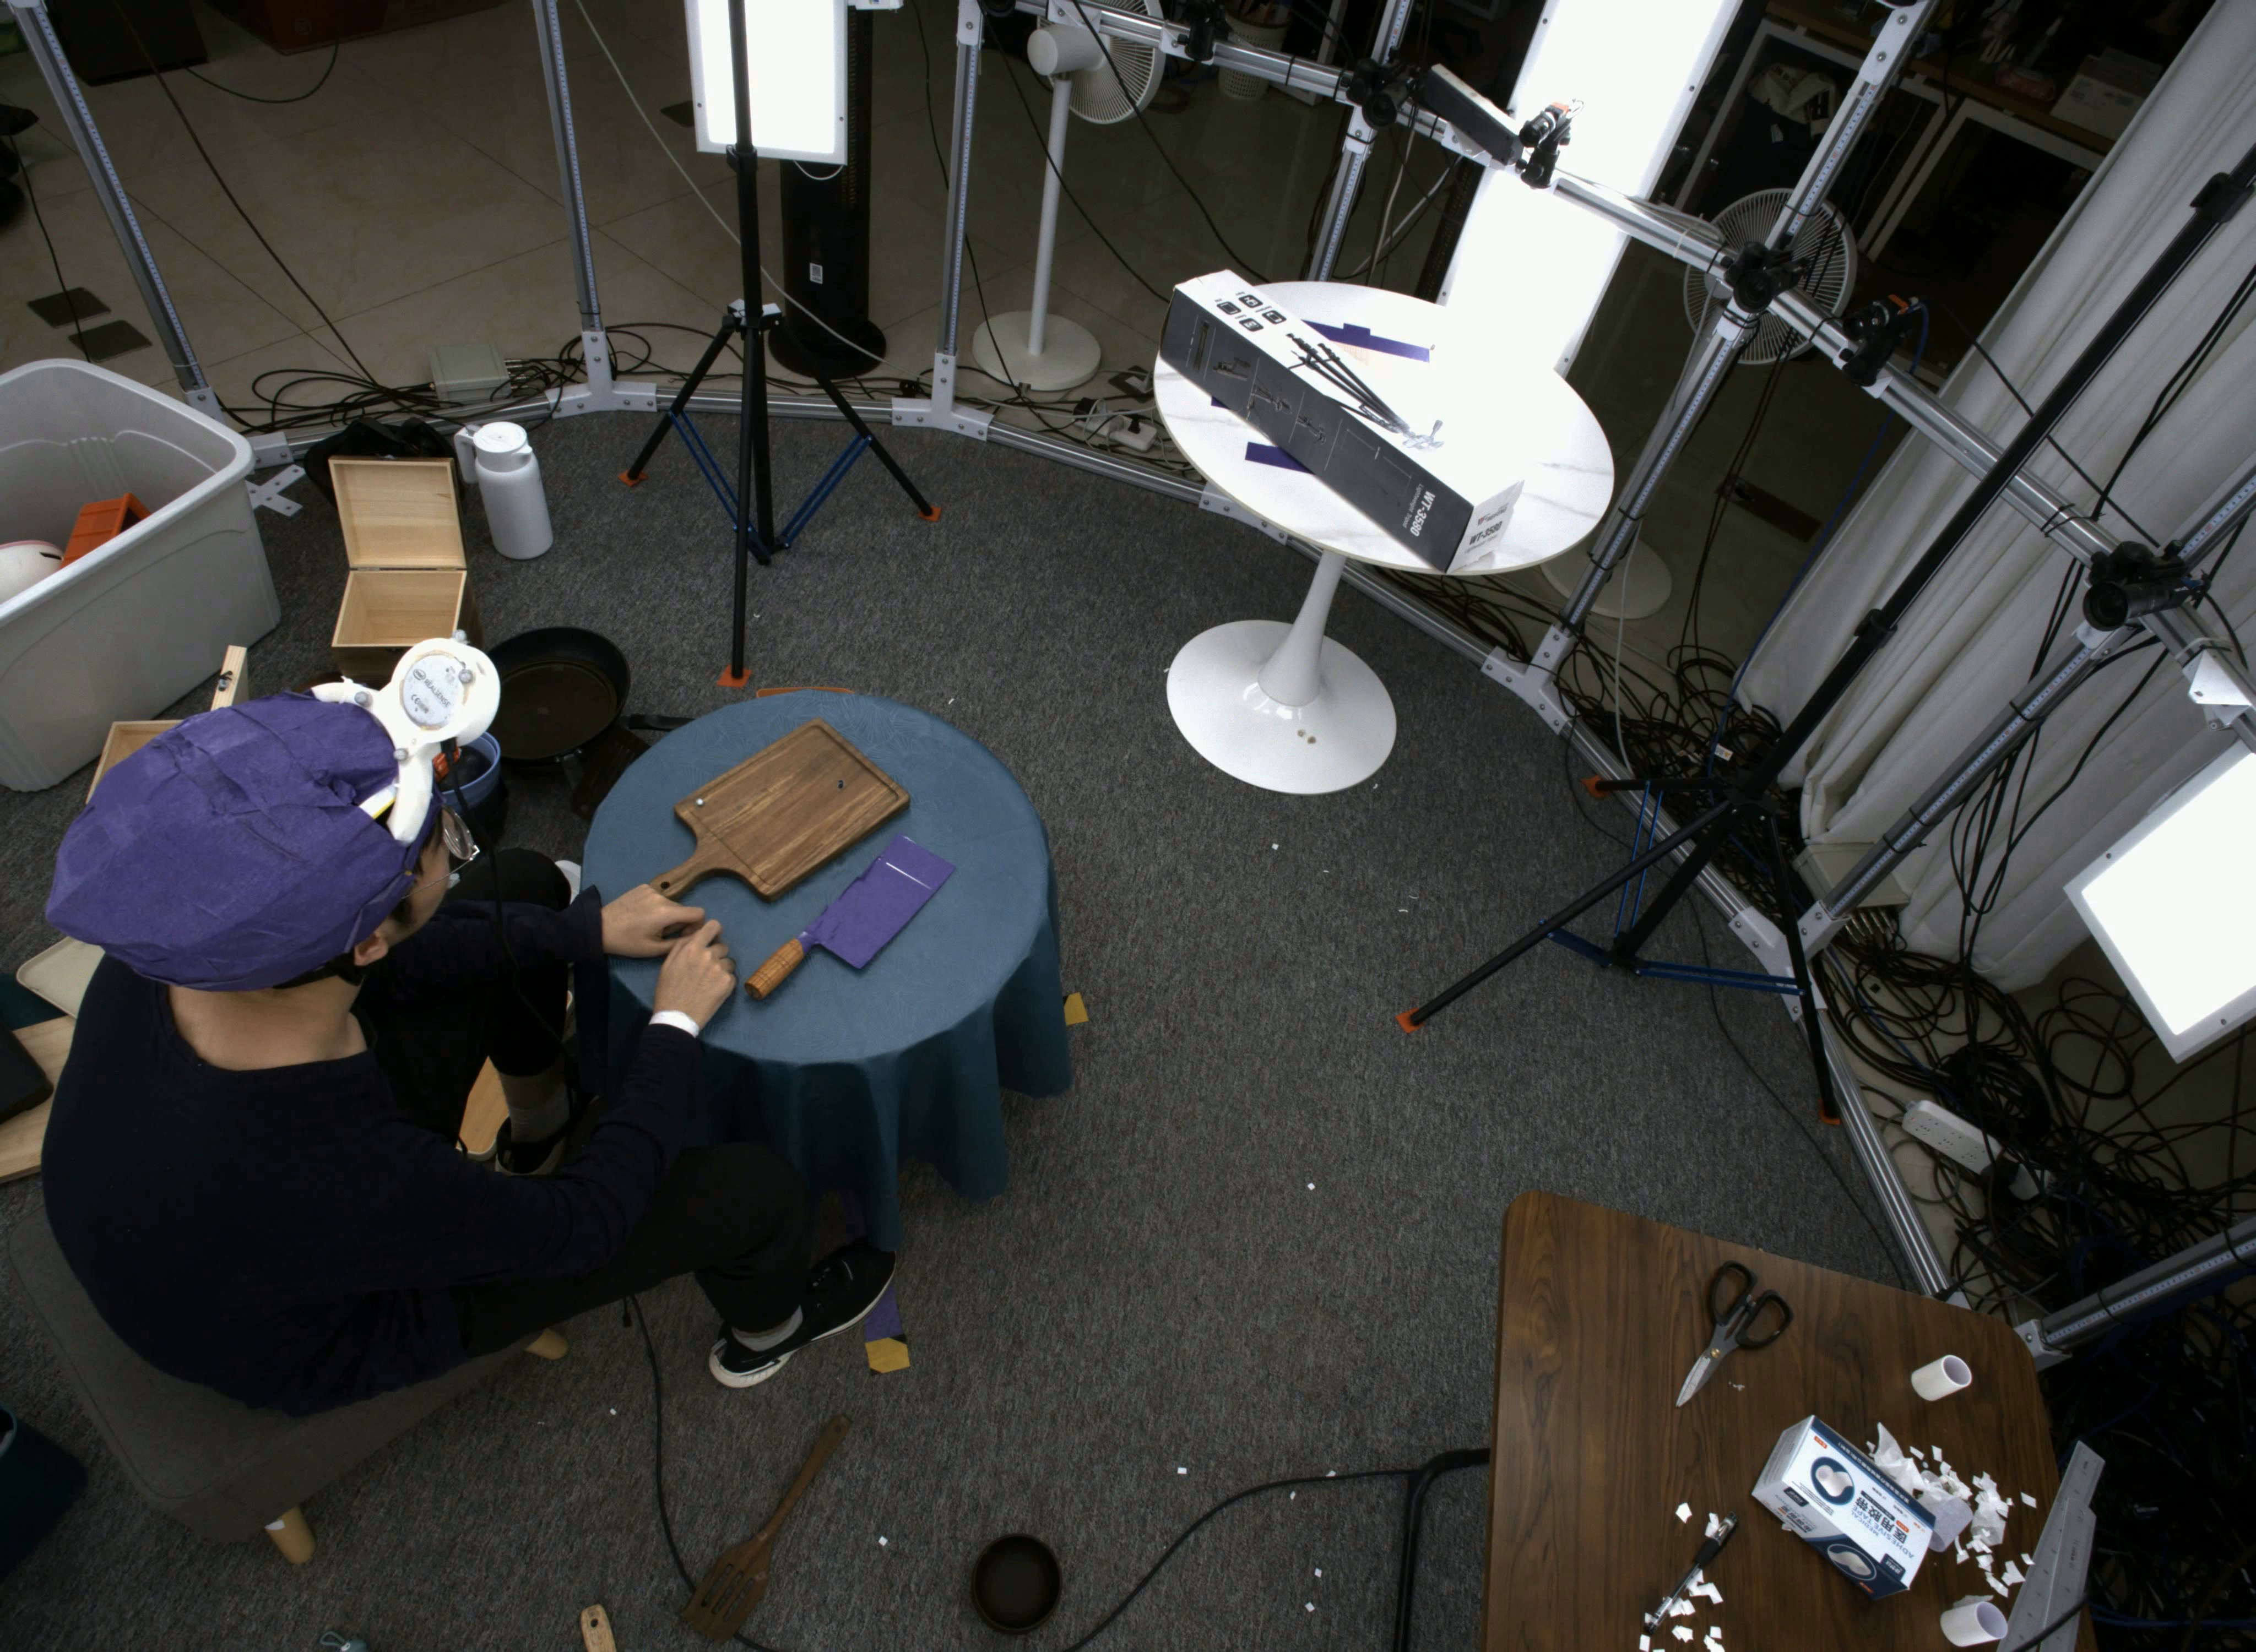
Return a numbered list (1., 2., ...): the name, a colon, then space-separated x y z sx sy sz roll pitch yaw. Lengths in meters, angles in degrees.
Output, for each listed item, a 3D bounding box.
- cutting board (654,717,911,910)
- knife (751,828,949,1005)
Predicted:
1. cutting board: -0.478 -0.002 1.710 0.197 0.023 0.352 40 55 16
2. knife: -0.343 0.119 1.650 0.102 0.033 0.314 30 52 10
